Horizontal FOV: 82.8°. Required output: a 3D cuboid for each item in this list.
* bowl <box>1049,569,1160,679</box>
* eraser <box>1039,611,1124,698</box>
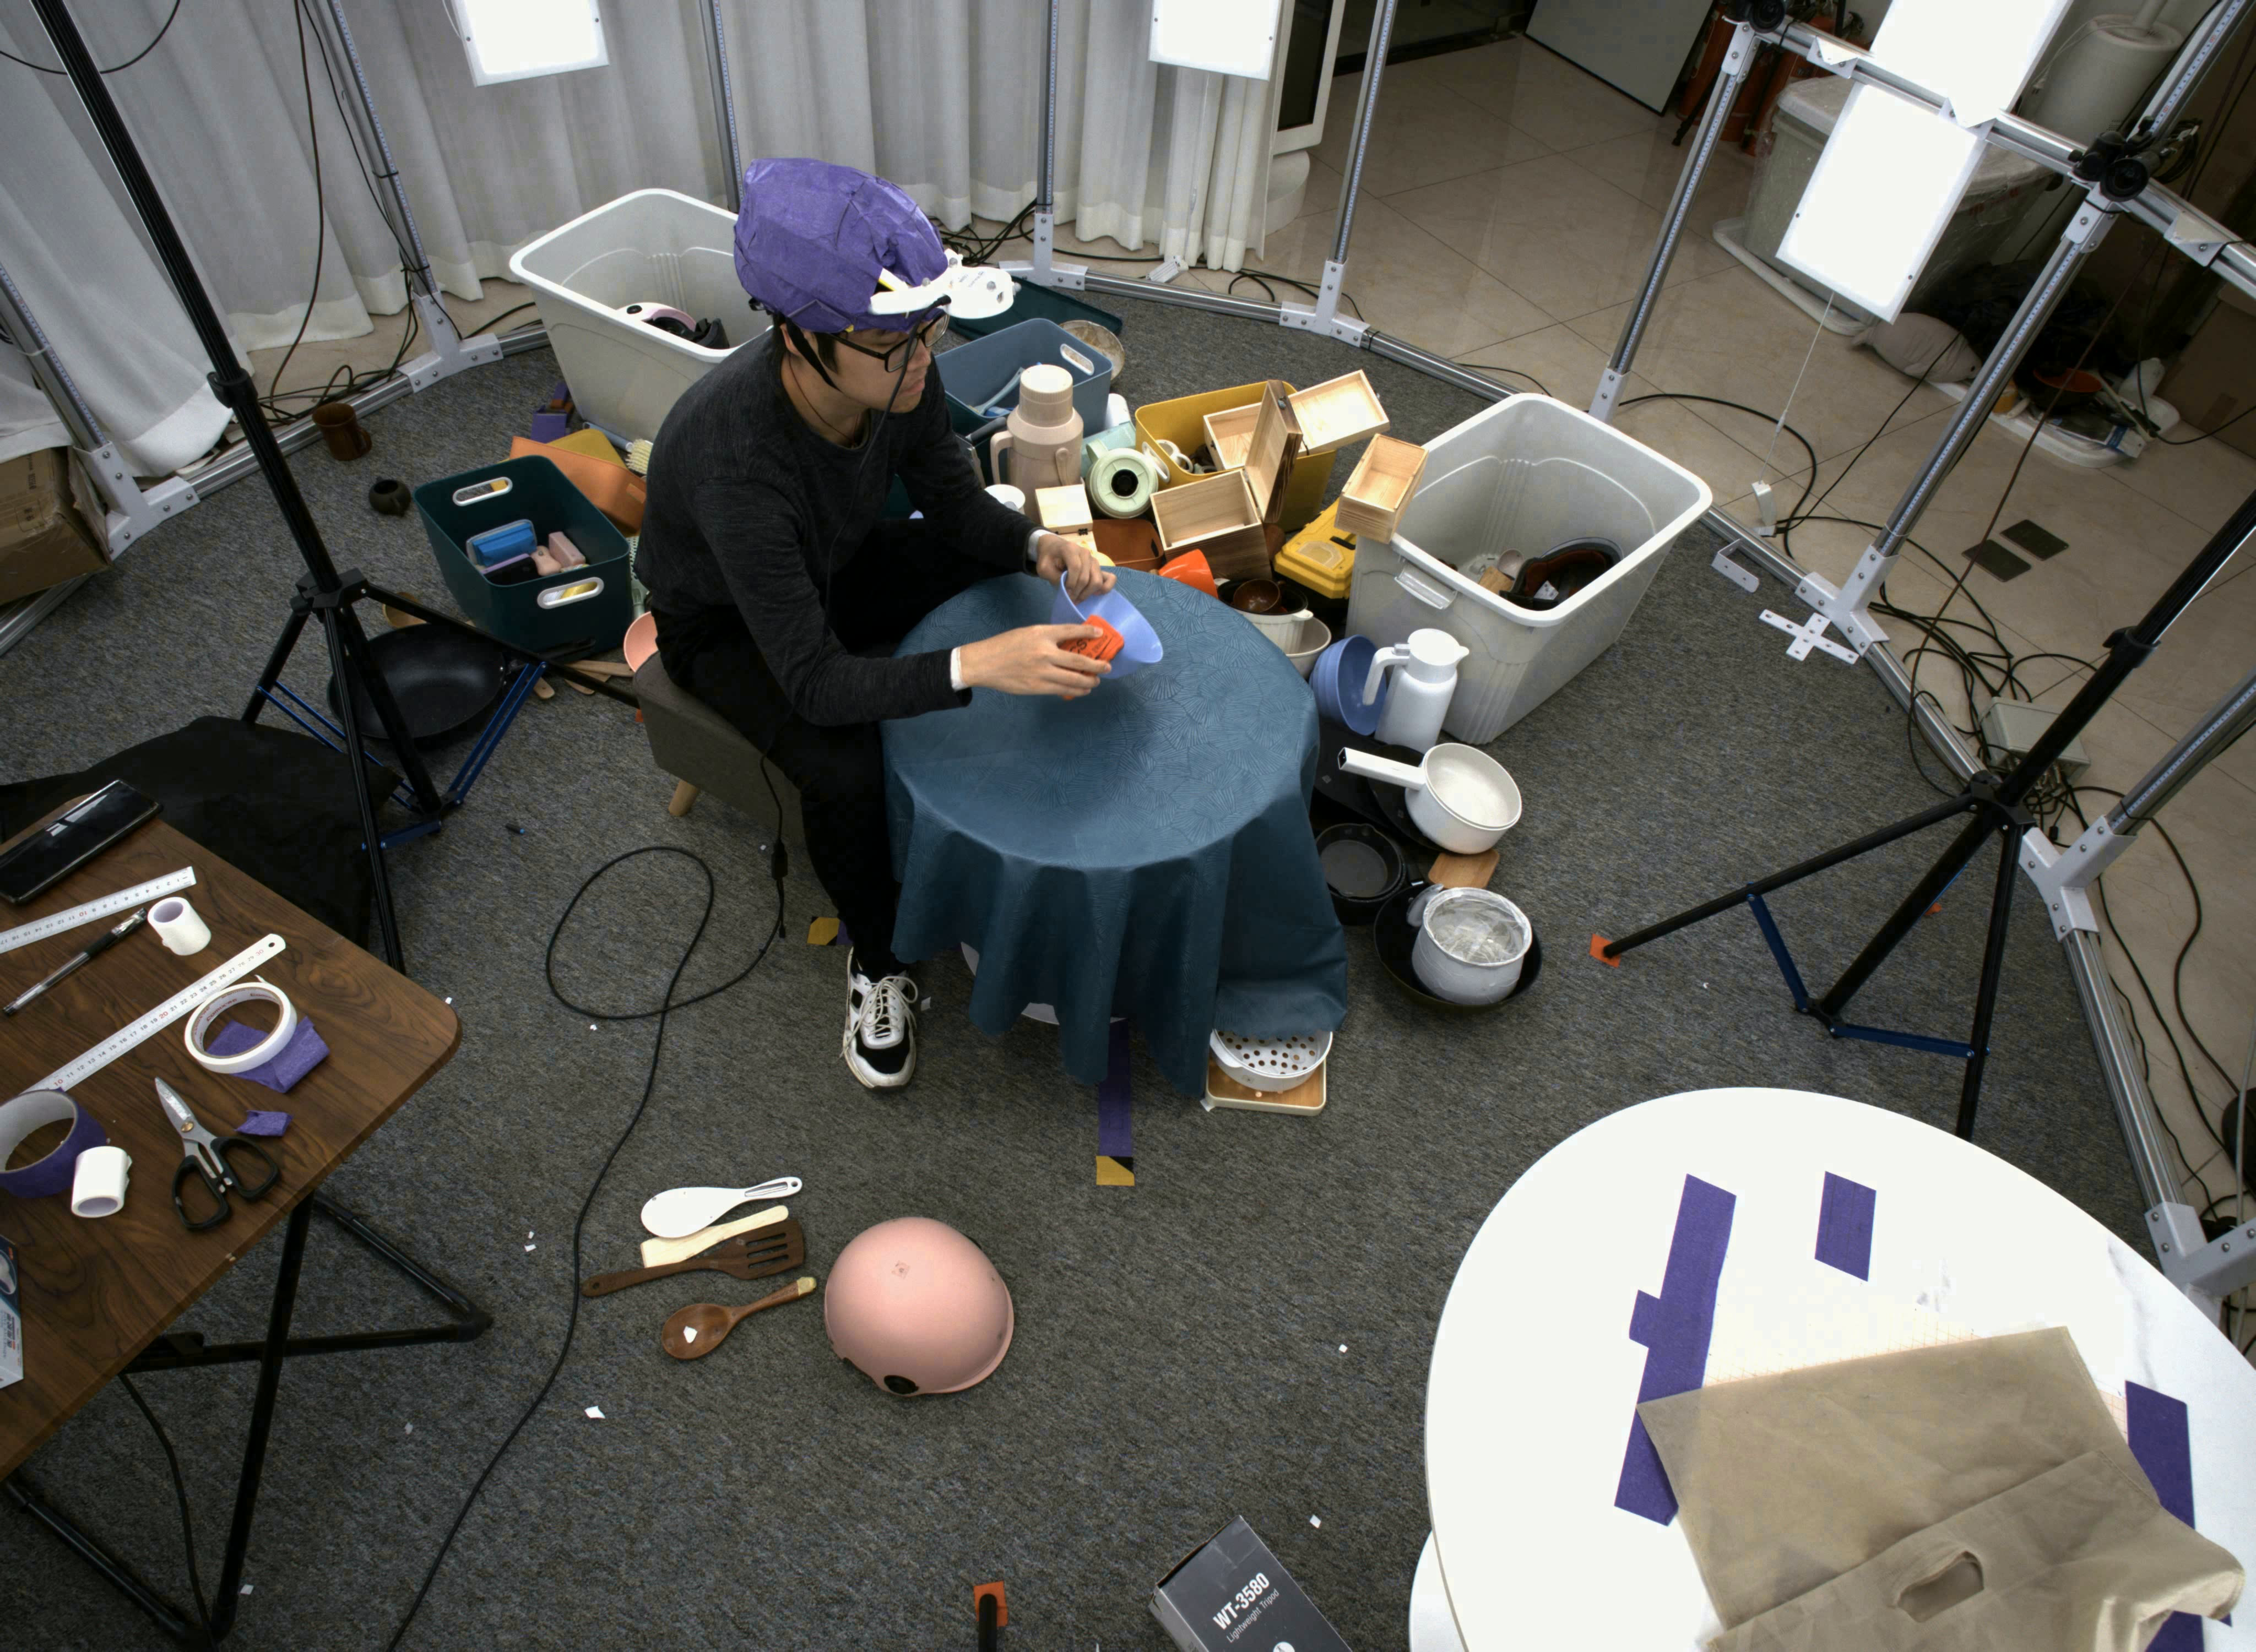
[{"bbox_3d":[-0.043,-0.265,1.753,0.174,0.069,0.180,34,27,-20],"label":"bowl"},{"bbox_3d":[-0.059,-0.219,1.643,0.059,0.023,0.108,44,87,7],"label":"eraser"}]
